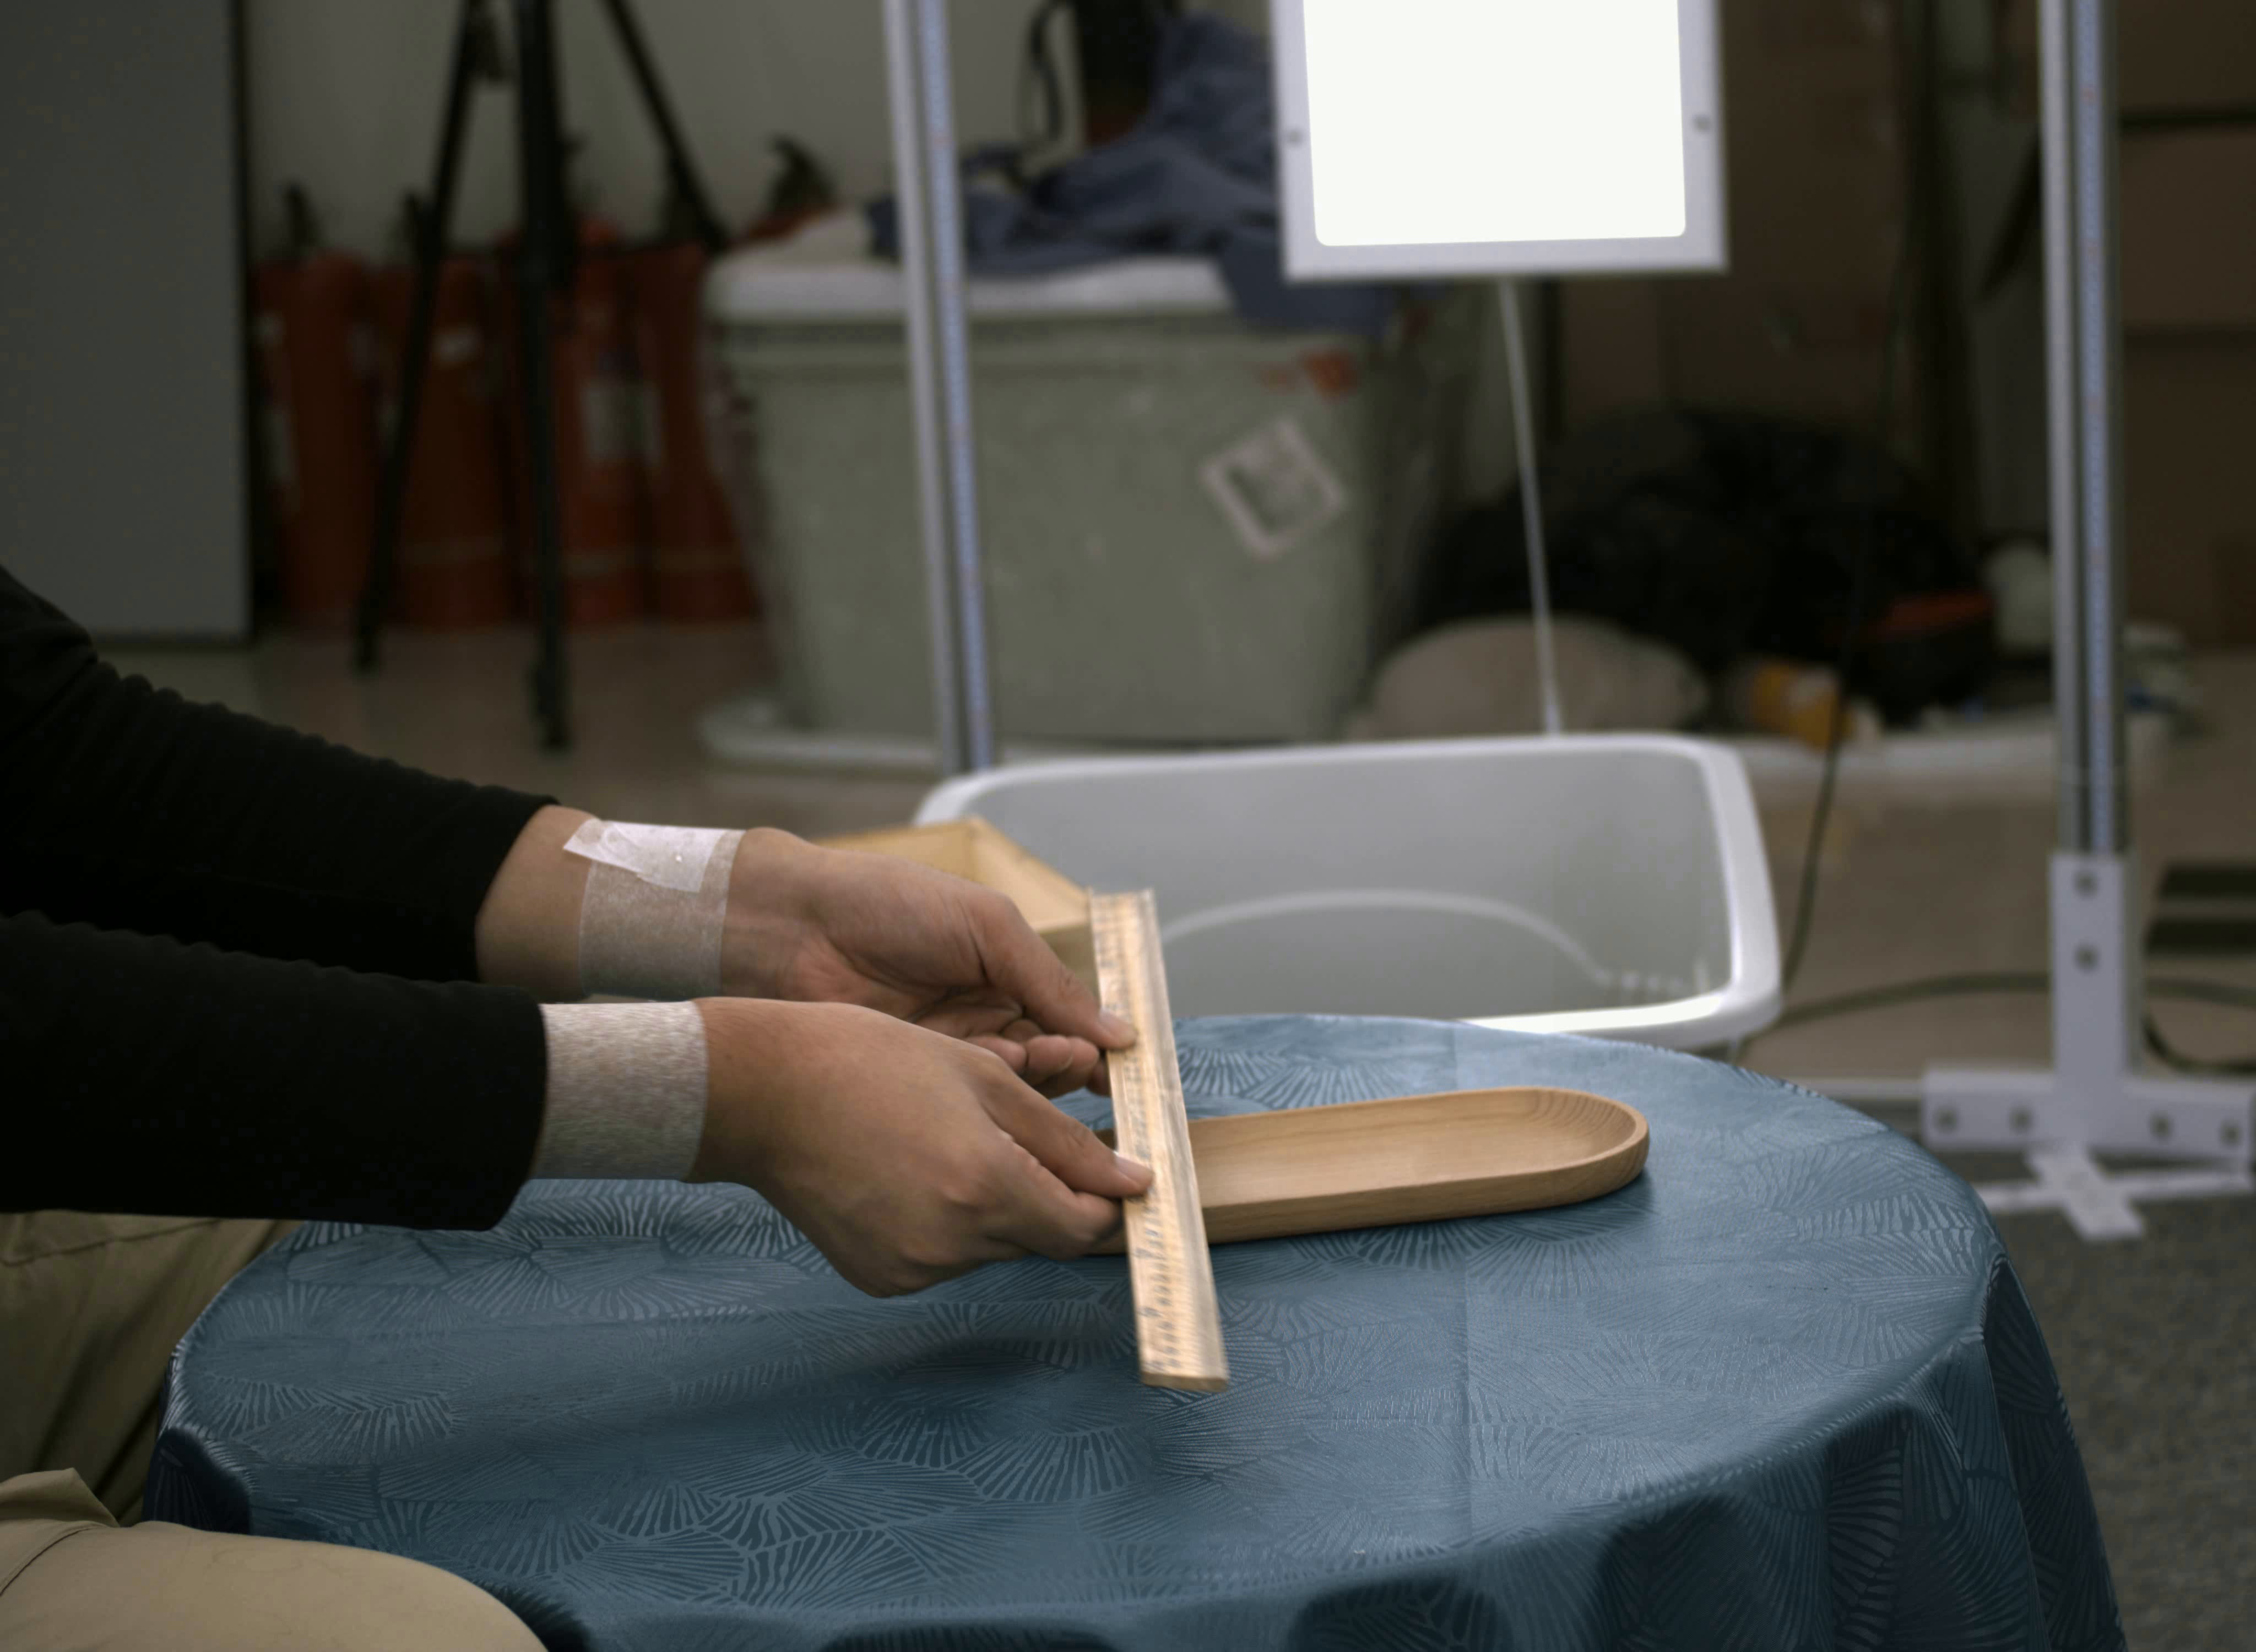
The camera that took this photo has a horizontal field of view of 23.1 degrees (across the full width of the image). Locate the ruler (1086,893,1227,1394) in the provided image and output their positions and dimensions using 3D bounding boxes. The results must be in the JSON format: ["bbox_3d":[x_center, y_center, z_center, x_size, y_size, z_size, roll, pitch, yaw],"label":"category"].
[{"bbox_3d":[0.006,0.095,1.836,0.026,0.006,0.500,3,16,-3],"label":"ruler"}]

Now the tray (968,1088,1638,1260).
[{"bbox_3d":[0.061,0.119,1.874,0.229,0.020,0.102,-8,12,-5],"label":"tray"}]
